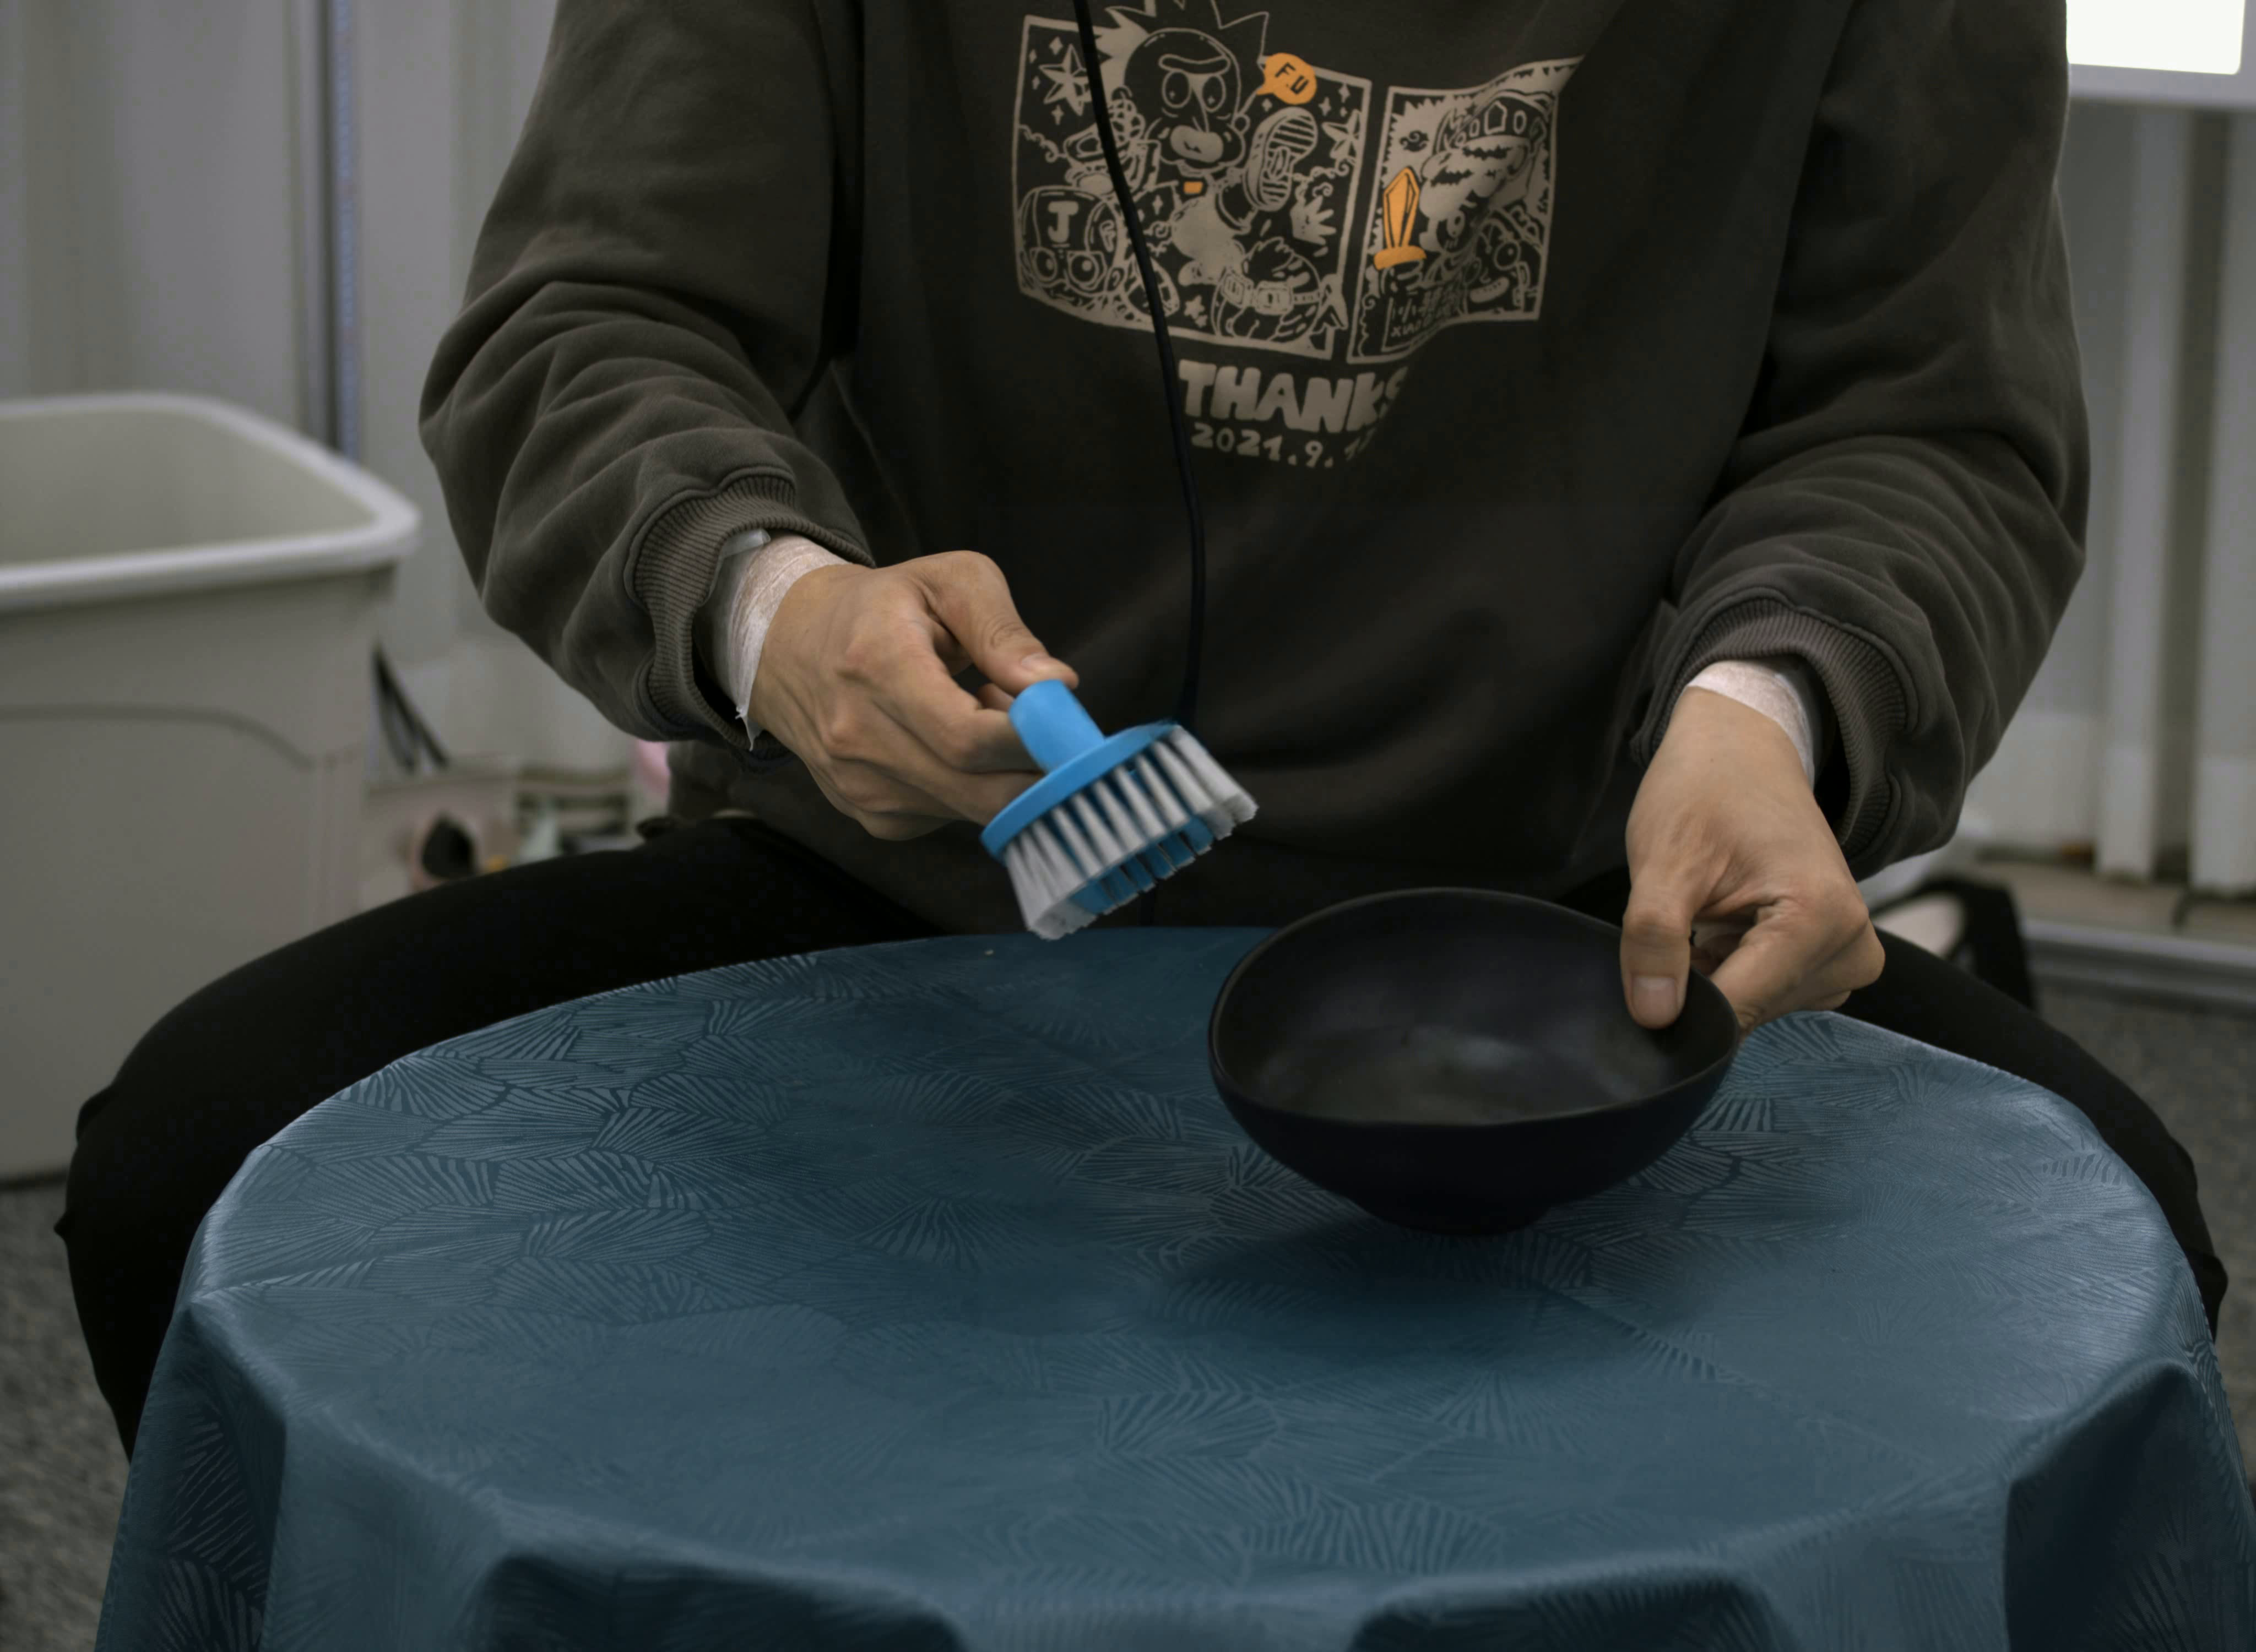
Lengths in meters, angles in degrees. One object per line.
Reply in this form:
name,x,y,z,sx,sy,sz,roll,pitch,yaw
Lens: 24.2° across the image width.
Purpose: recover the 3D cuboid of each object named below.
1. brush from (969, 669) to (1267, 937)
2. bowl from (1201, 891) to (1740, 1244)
brush,-0.011,-0.015,1.596,0.084,0.063,0.142,-36,-6,4
bowl,0.101,0.082,1.581,0.171,0.067,0.135,-12,32,-31
